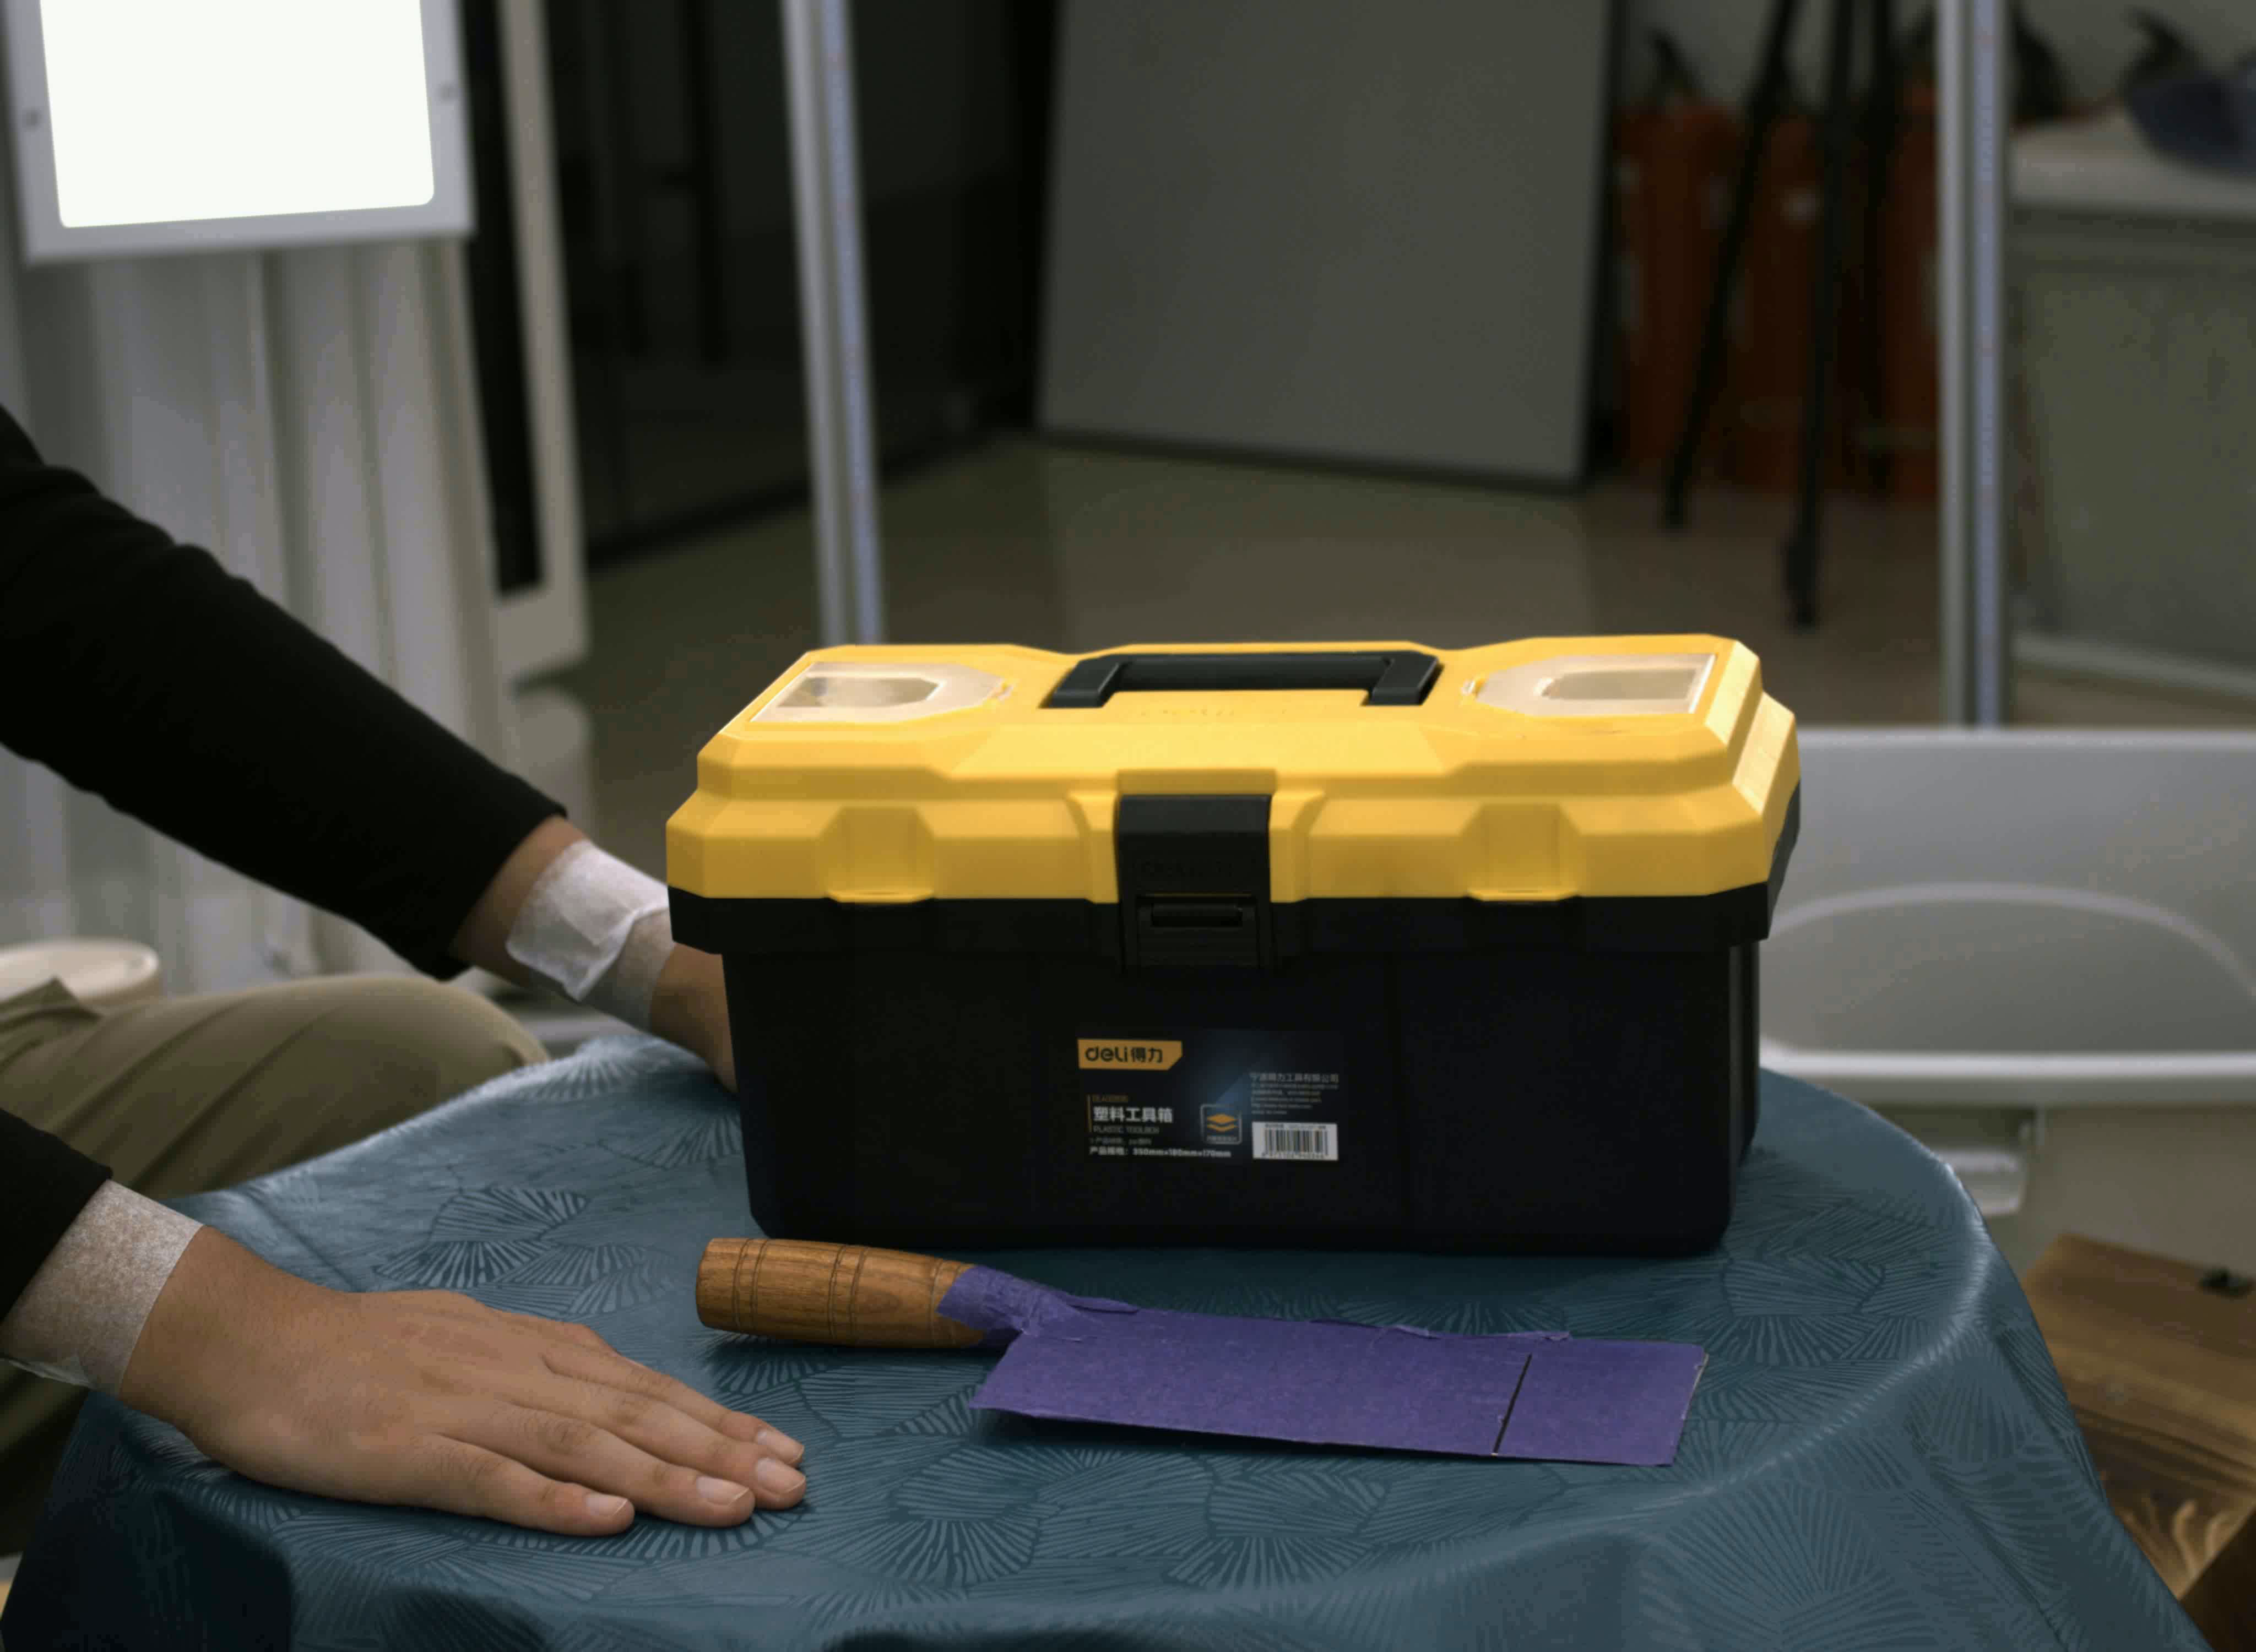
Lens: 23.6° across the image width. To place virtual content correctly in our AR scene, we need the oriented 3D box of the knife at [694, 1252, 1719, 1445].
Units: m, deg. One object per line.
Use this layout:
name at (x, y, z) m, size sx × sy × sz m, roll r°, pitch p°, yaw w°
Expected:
knife at (0.015, 0.153, 1.577) m, size 0.314 × 0.032 × 0.103 m, roll 0°, pitch 14°, yaw 15°

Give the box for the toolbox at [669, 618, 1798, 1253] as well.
toolbox at (0.039, 0.037, 1.737) m, size 0.349 × 0.175 × 0.180 m, roll -1°, pitch 13°, yaw 14°
